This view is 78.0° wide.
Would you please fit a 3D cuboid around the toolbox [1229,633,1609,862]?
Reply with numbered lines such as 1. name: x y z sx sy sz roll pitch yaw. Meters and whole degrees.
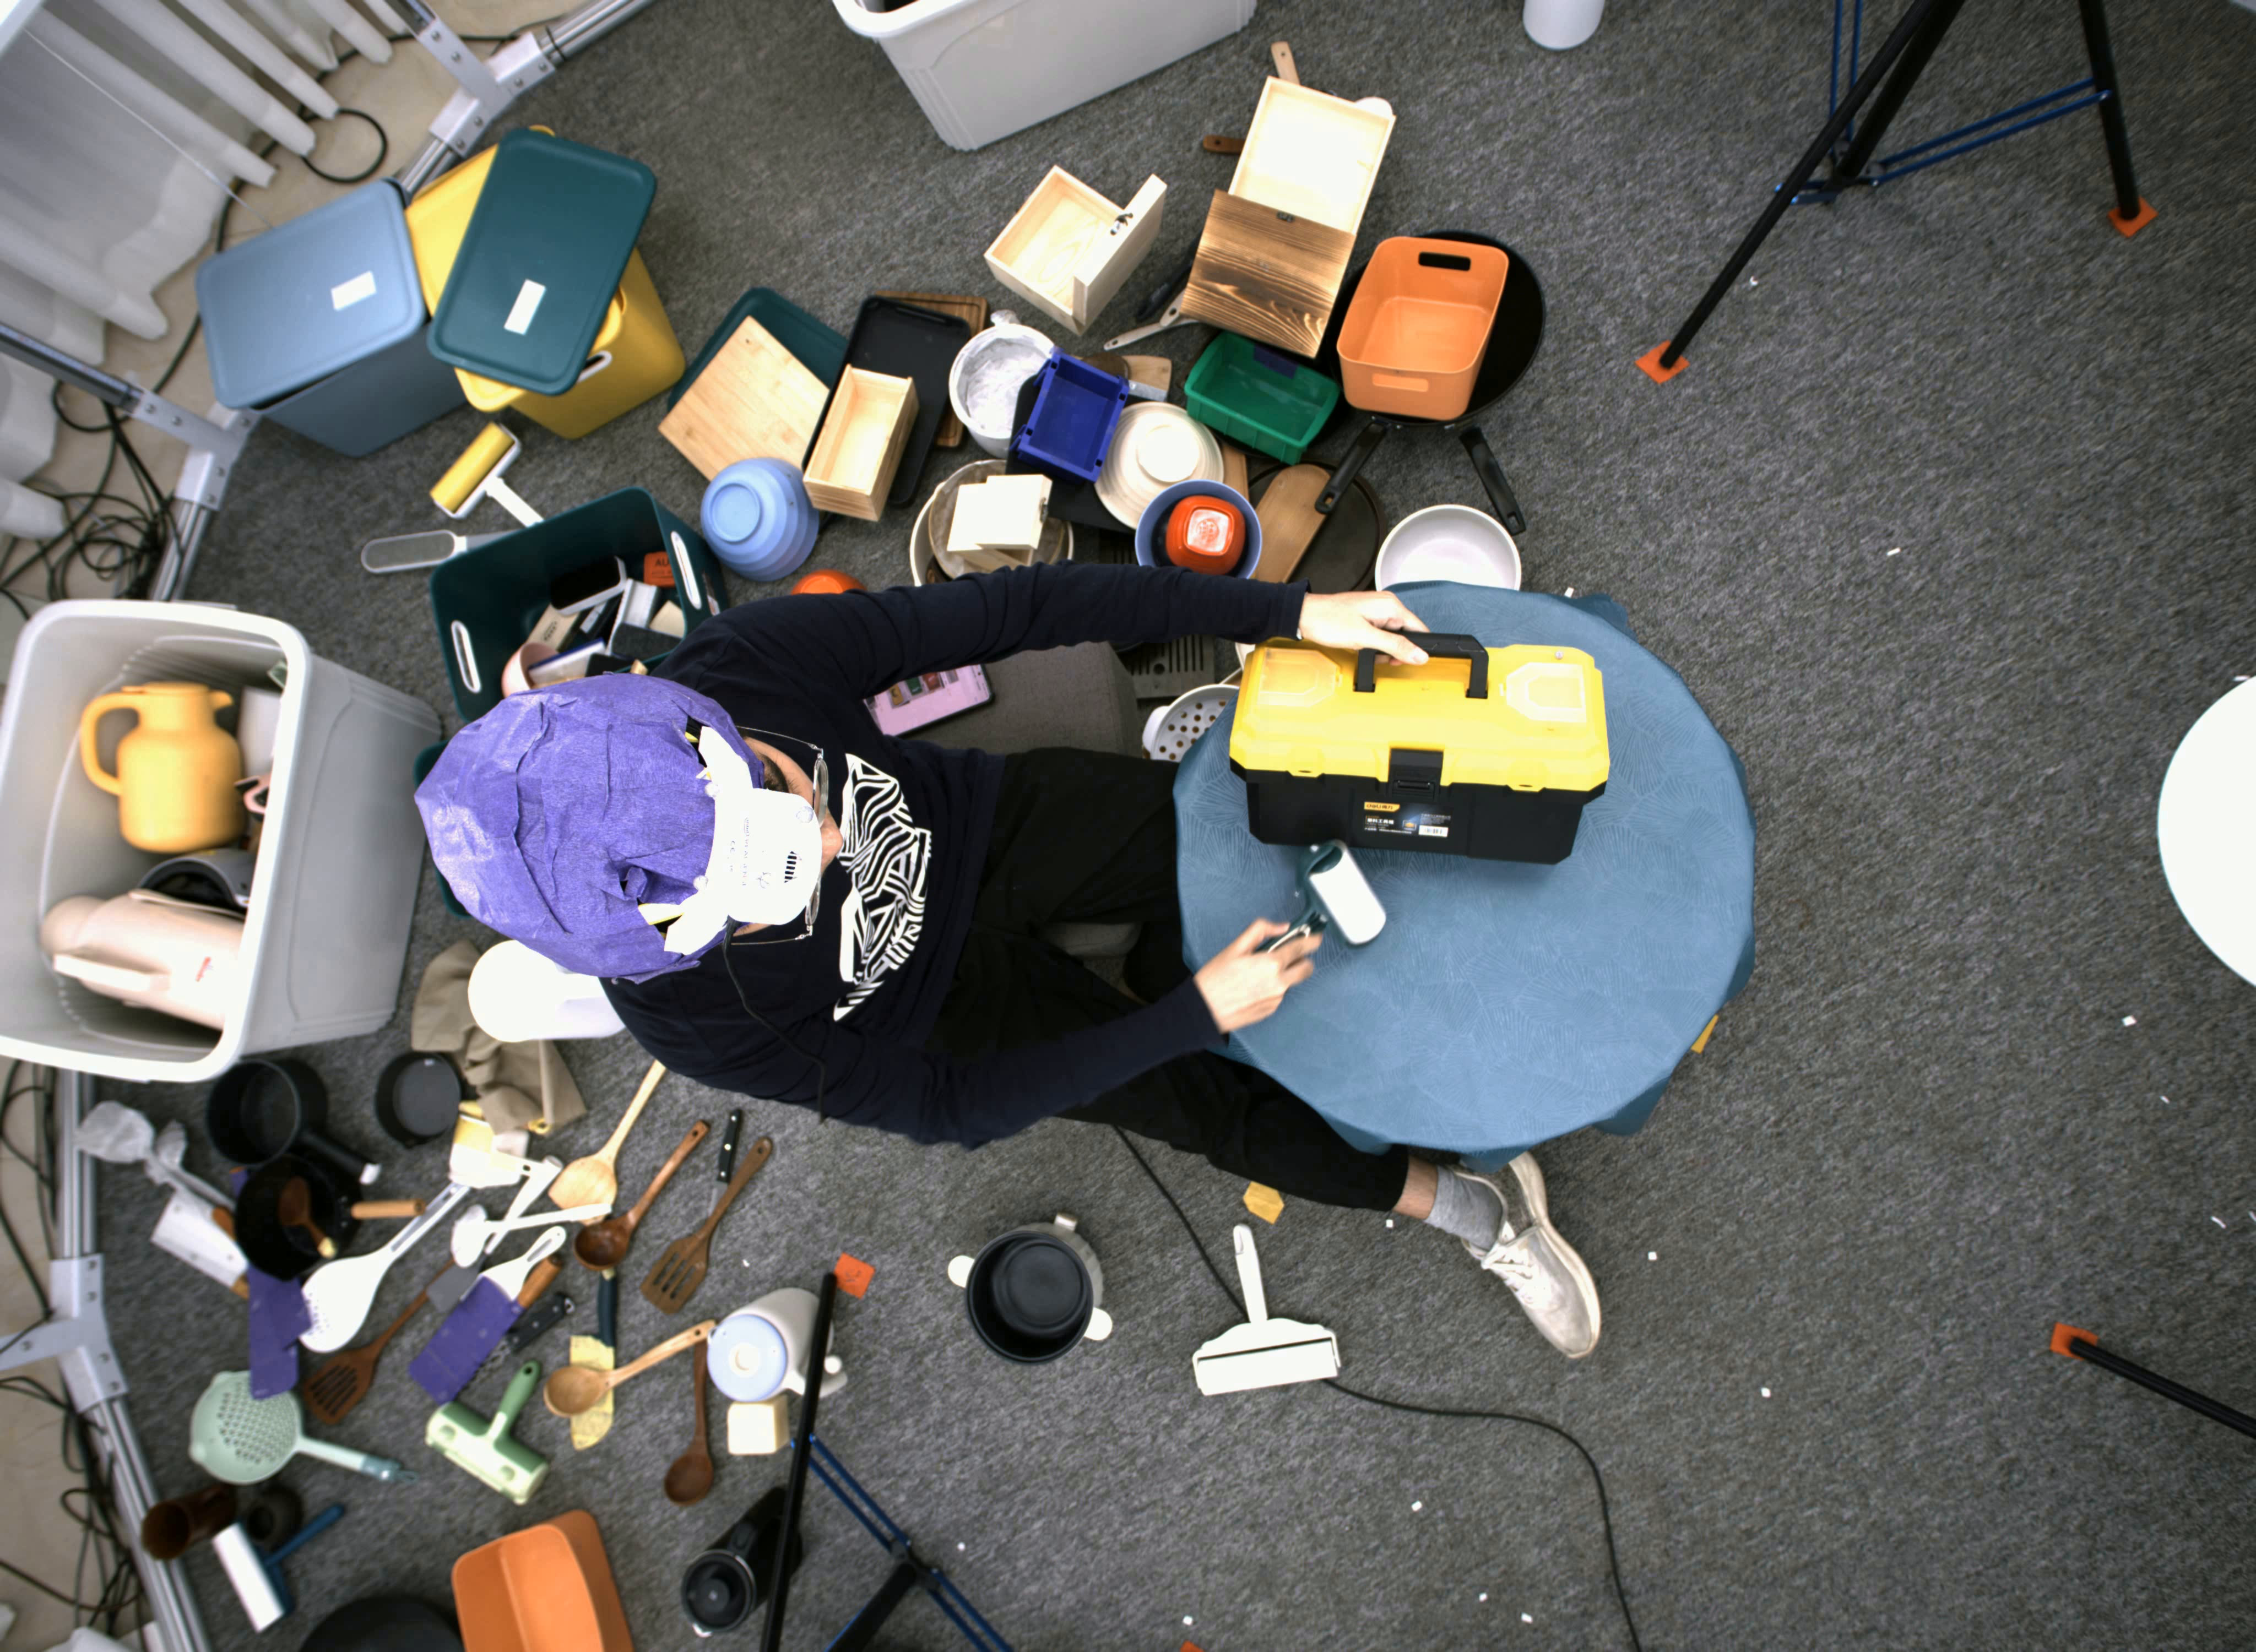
1. toolbox: 0.282 -0.076 1.358 0.352 0.177 0.176 4 48 11

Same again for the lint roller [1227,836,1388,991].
1. lint roller: 0.174 0.105 1.381 0.179 0.136 0.048 -44 37 -8
